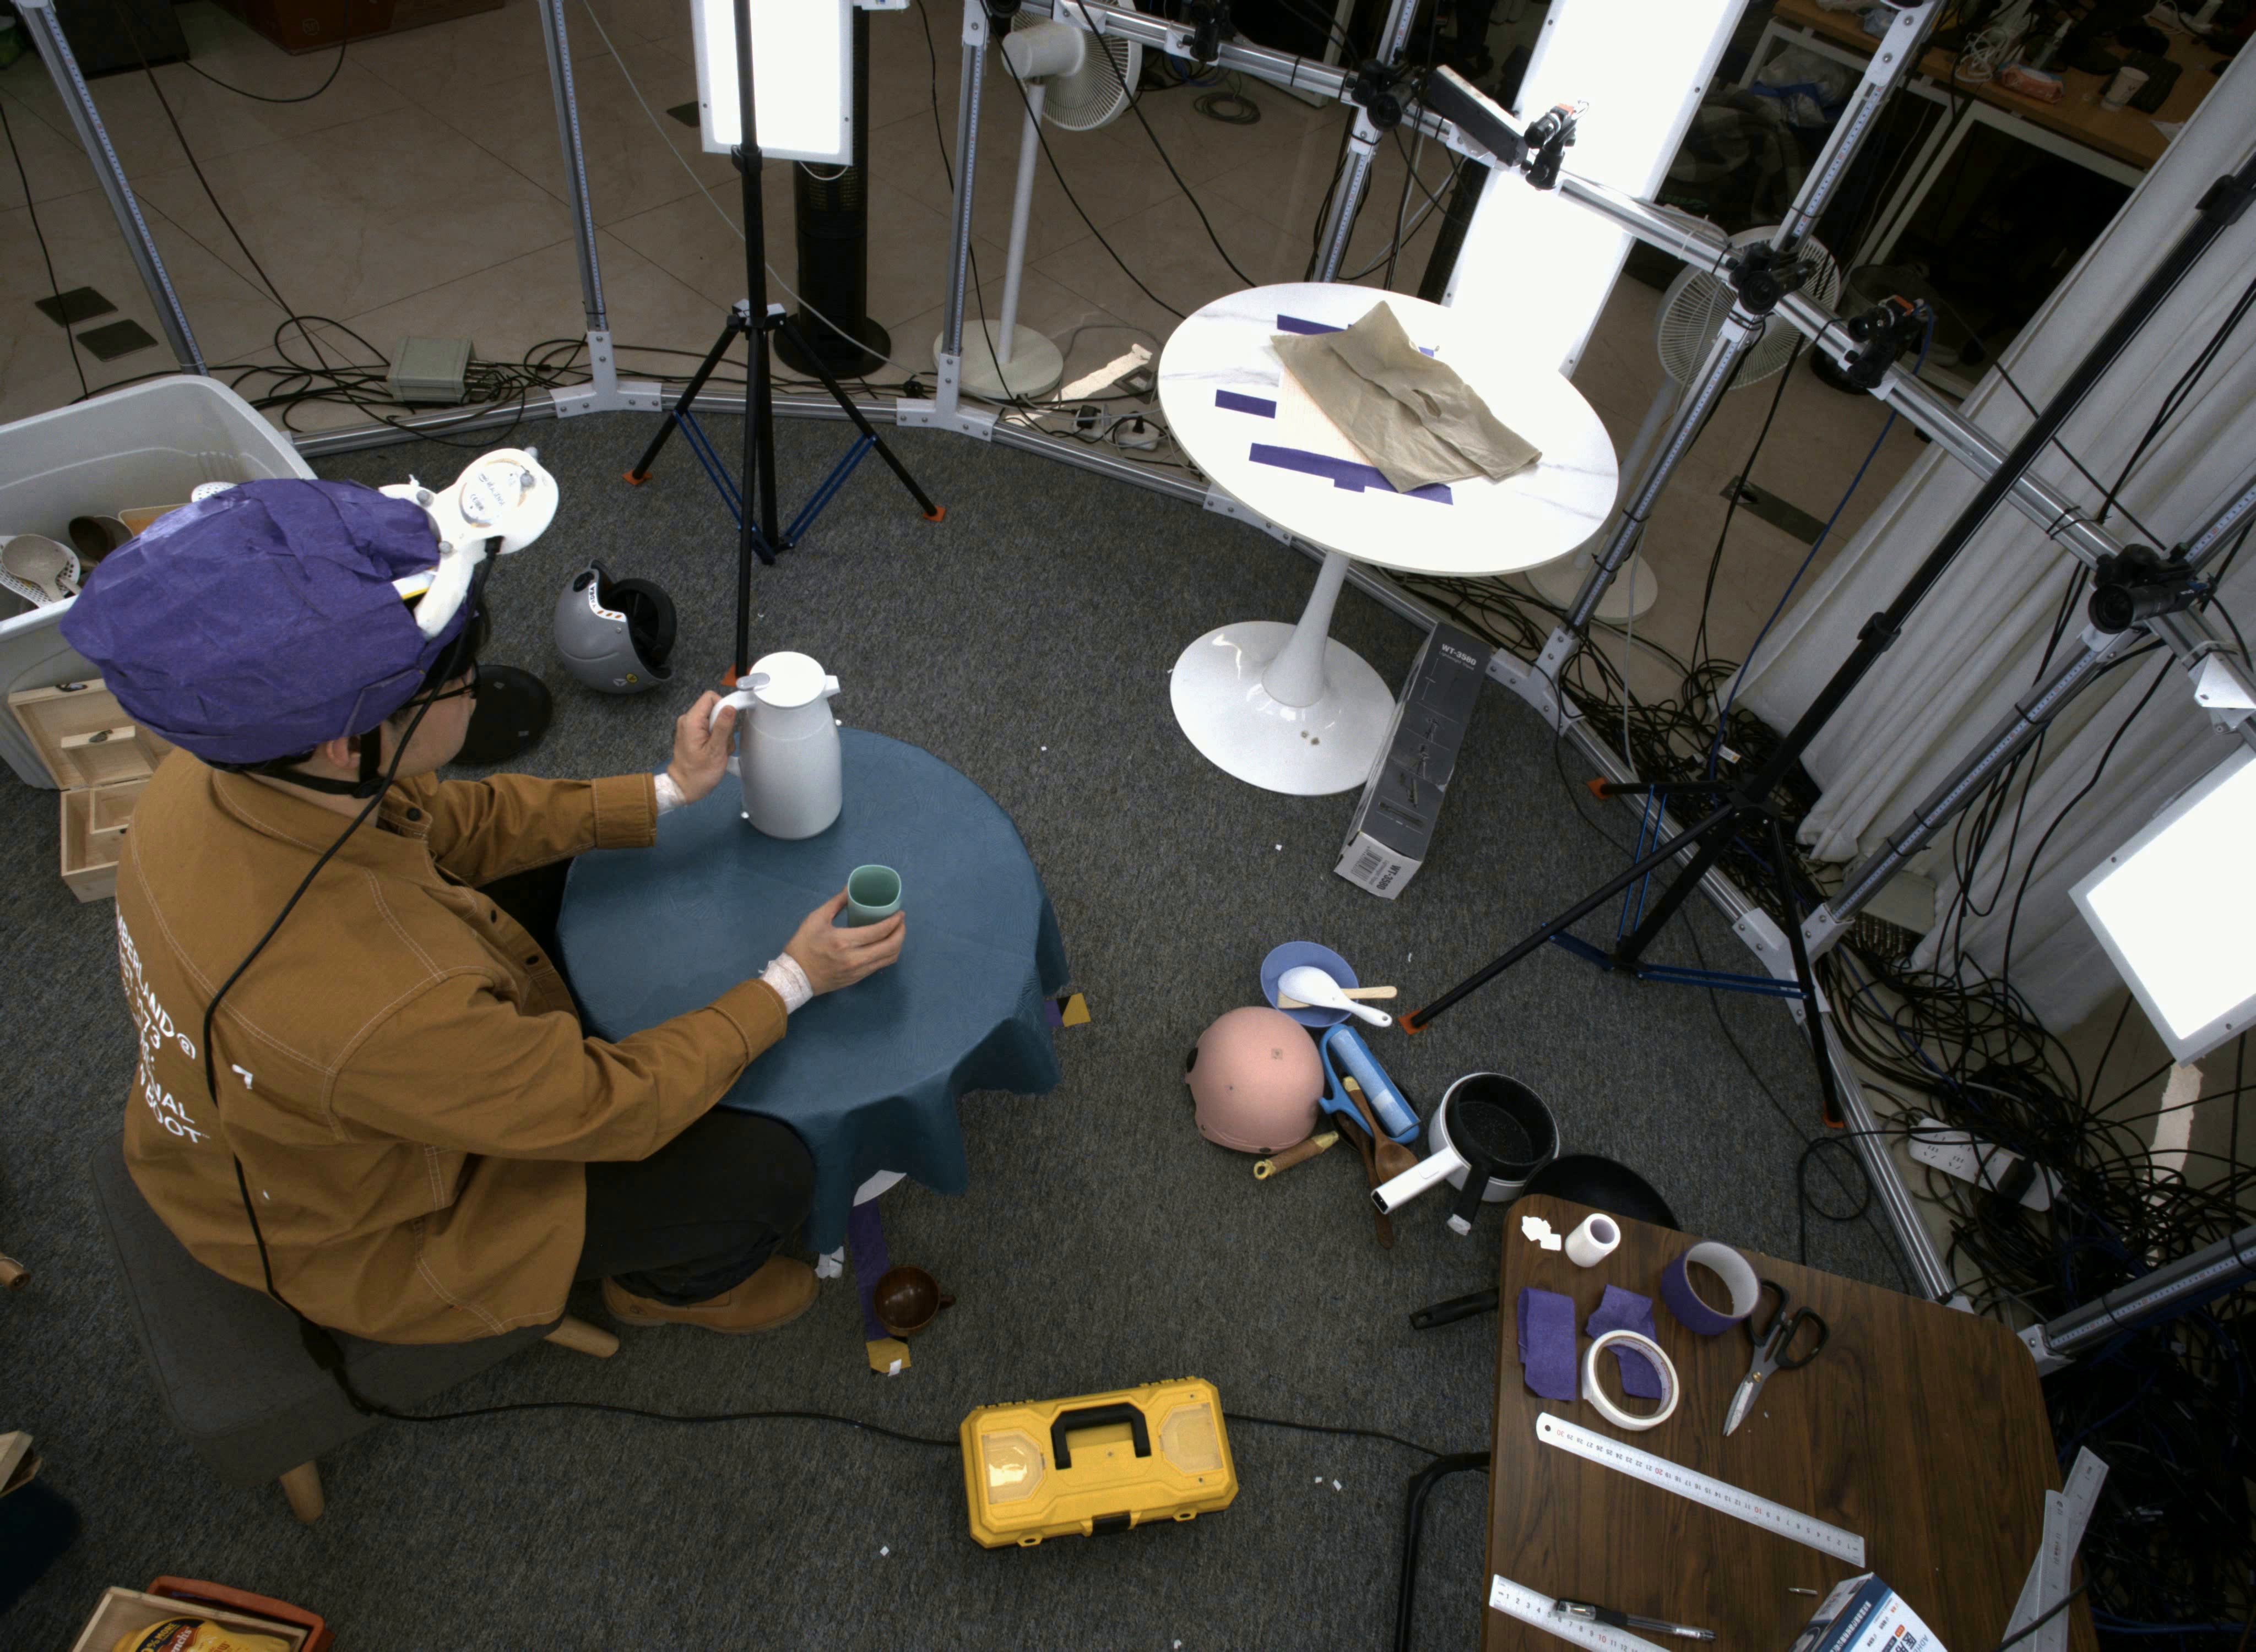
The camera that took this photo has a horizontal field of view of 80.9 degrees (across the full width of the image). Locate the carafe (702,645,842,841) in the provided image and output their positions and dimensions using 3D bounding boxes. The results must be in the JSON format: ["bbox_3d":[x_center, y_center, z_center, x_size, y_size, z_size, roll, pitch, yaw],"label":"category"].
[{"bbox_3d":[-0.449,-0.107,1.634,0.168,0.254,0.129,-10,55,-19],"label":"carafe"}]

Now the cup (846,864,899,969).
[{"bbox_3d":[-0.313,0.111,1.587,0.066,0.135,0.065,7,51,-7],"label":"cup"}]
